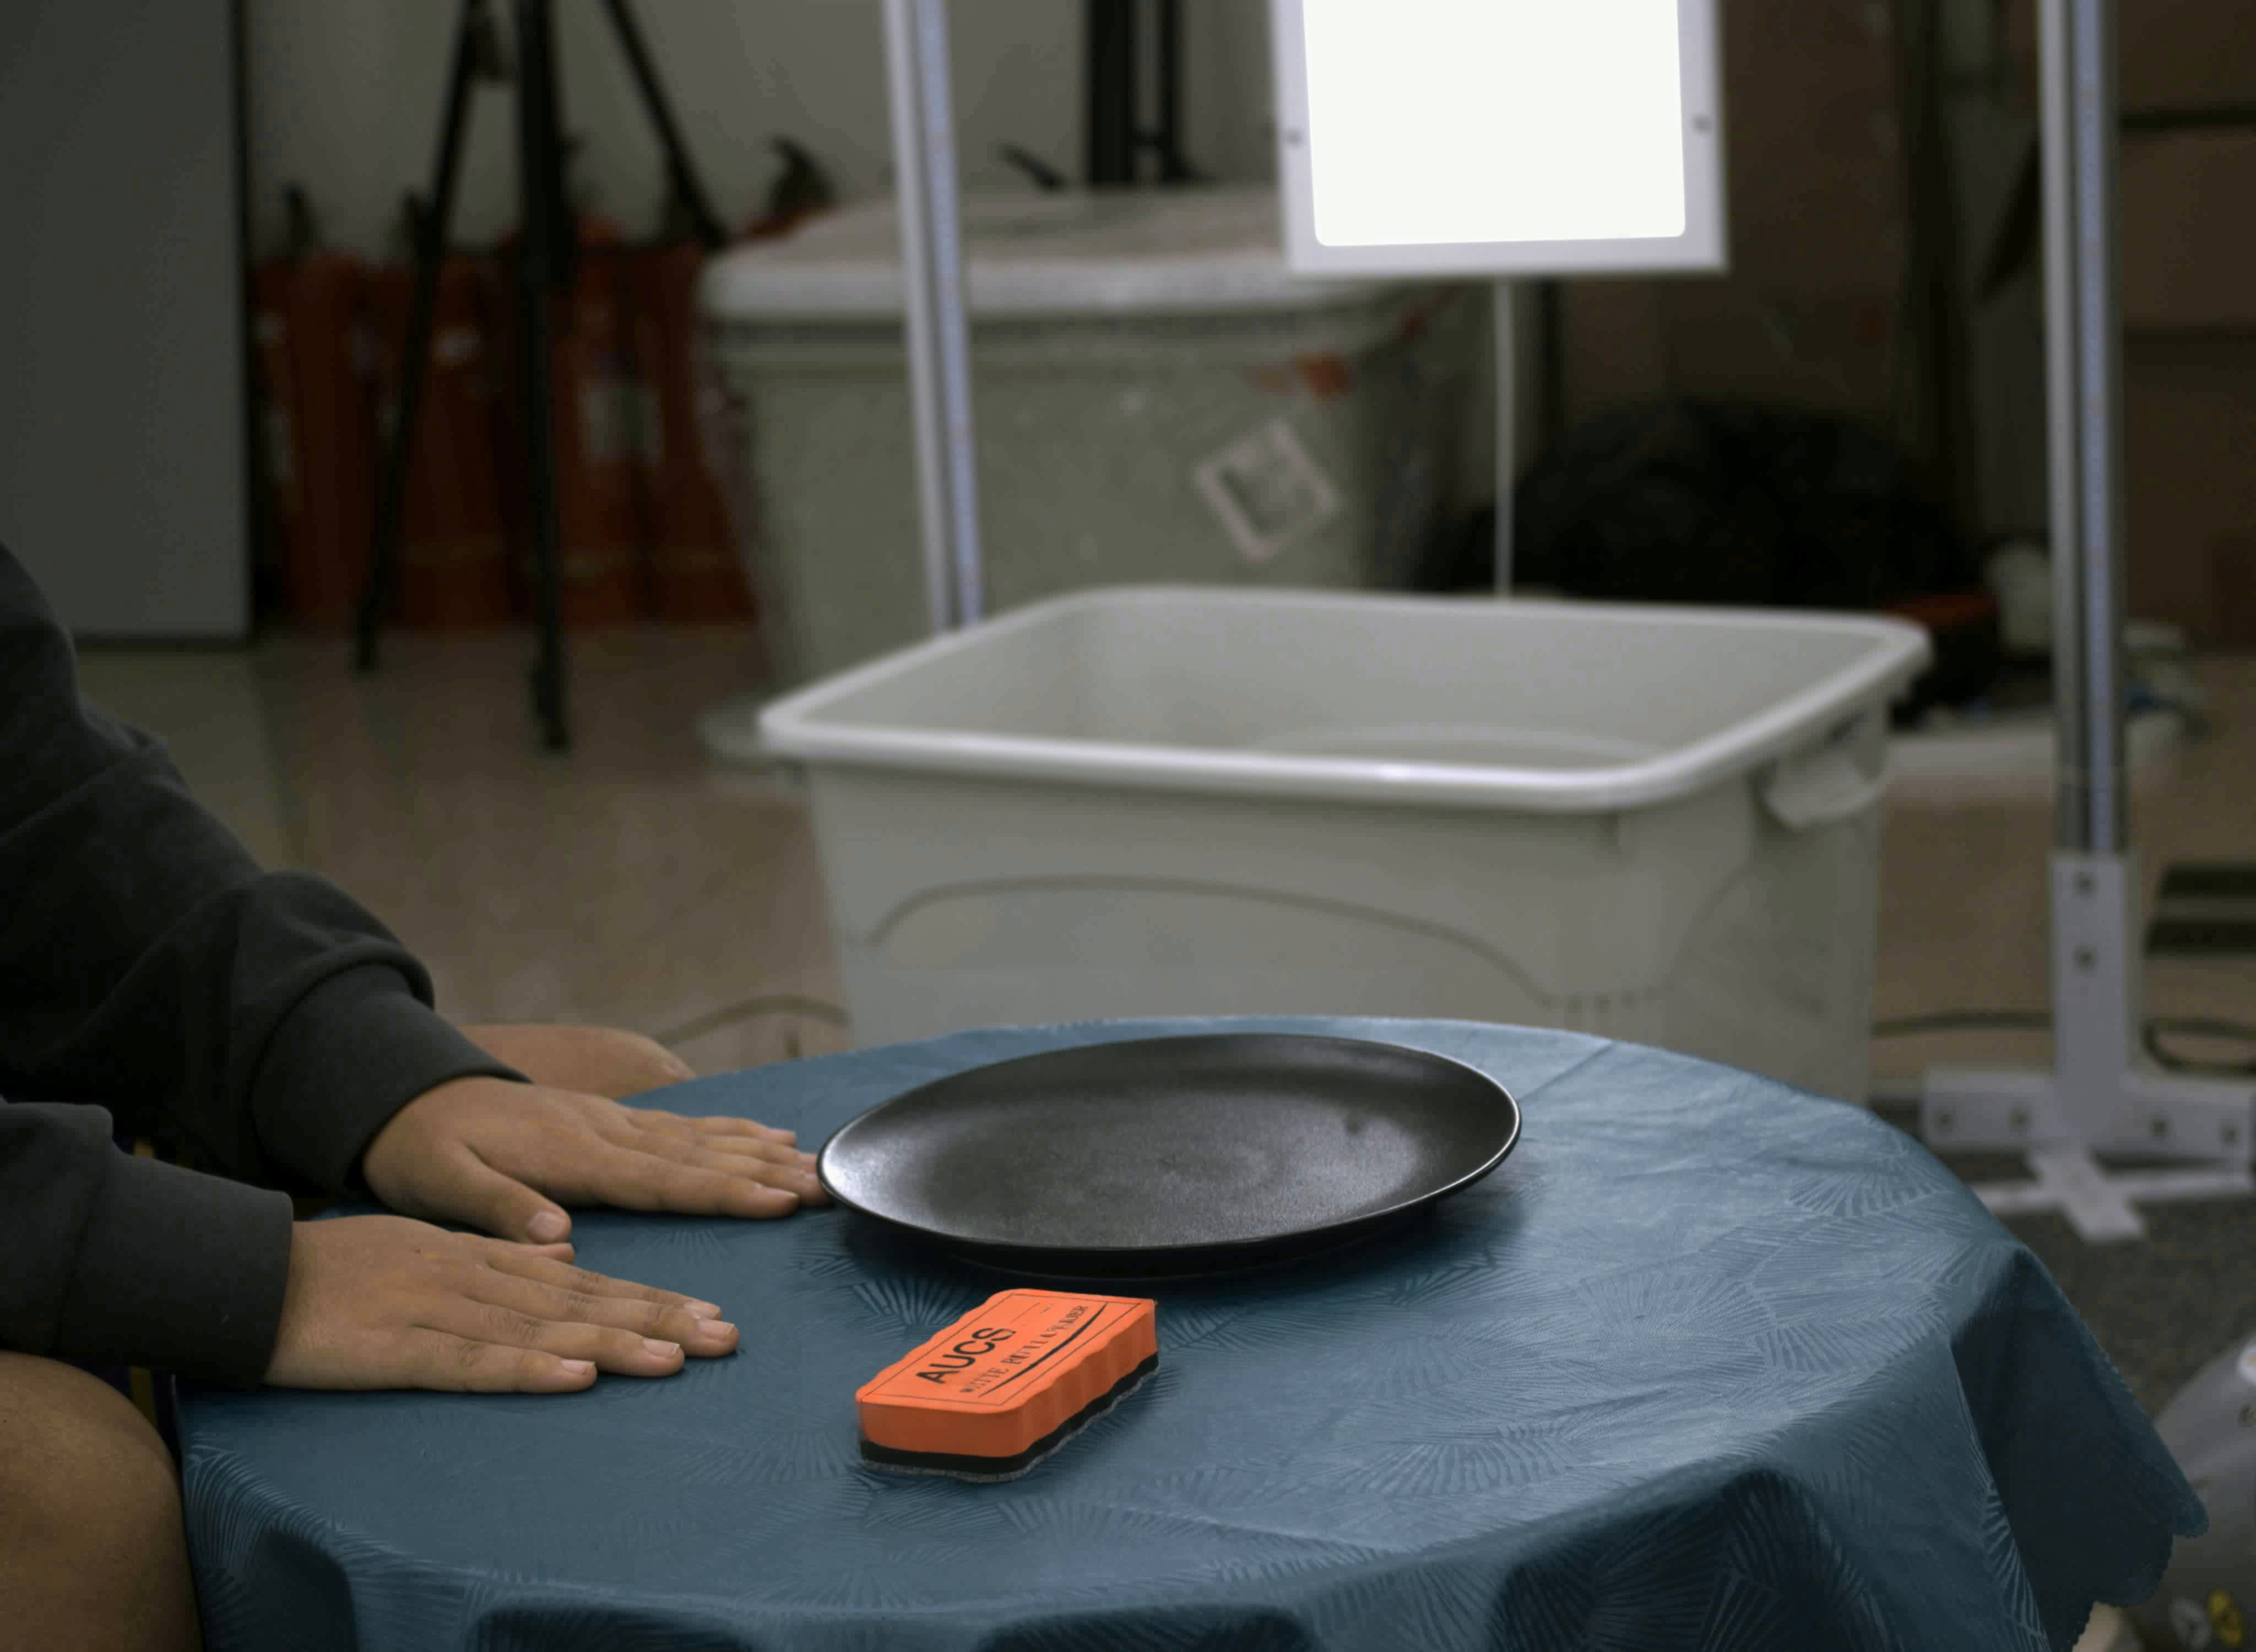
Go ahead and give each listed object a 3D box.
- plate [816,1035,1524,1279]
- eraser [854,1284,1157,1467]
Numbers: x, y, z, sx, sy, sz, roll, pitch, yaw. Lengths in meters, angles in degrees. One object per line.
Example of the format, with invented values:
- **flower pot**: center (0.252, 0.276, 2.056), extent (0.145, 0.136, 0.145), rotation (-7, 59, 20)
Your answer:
- **plate**: center (0.015, 0.116, 1.888), extent (0.244, 0.023, 0.244), rotation (-5, 14, 0)
- **eraser**: center (-0.036, 0.167, 1.683), extent (0.060, 0.023, 0.106), rotation (3, 14, 27)
